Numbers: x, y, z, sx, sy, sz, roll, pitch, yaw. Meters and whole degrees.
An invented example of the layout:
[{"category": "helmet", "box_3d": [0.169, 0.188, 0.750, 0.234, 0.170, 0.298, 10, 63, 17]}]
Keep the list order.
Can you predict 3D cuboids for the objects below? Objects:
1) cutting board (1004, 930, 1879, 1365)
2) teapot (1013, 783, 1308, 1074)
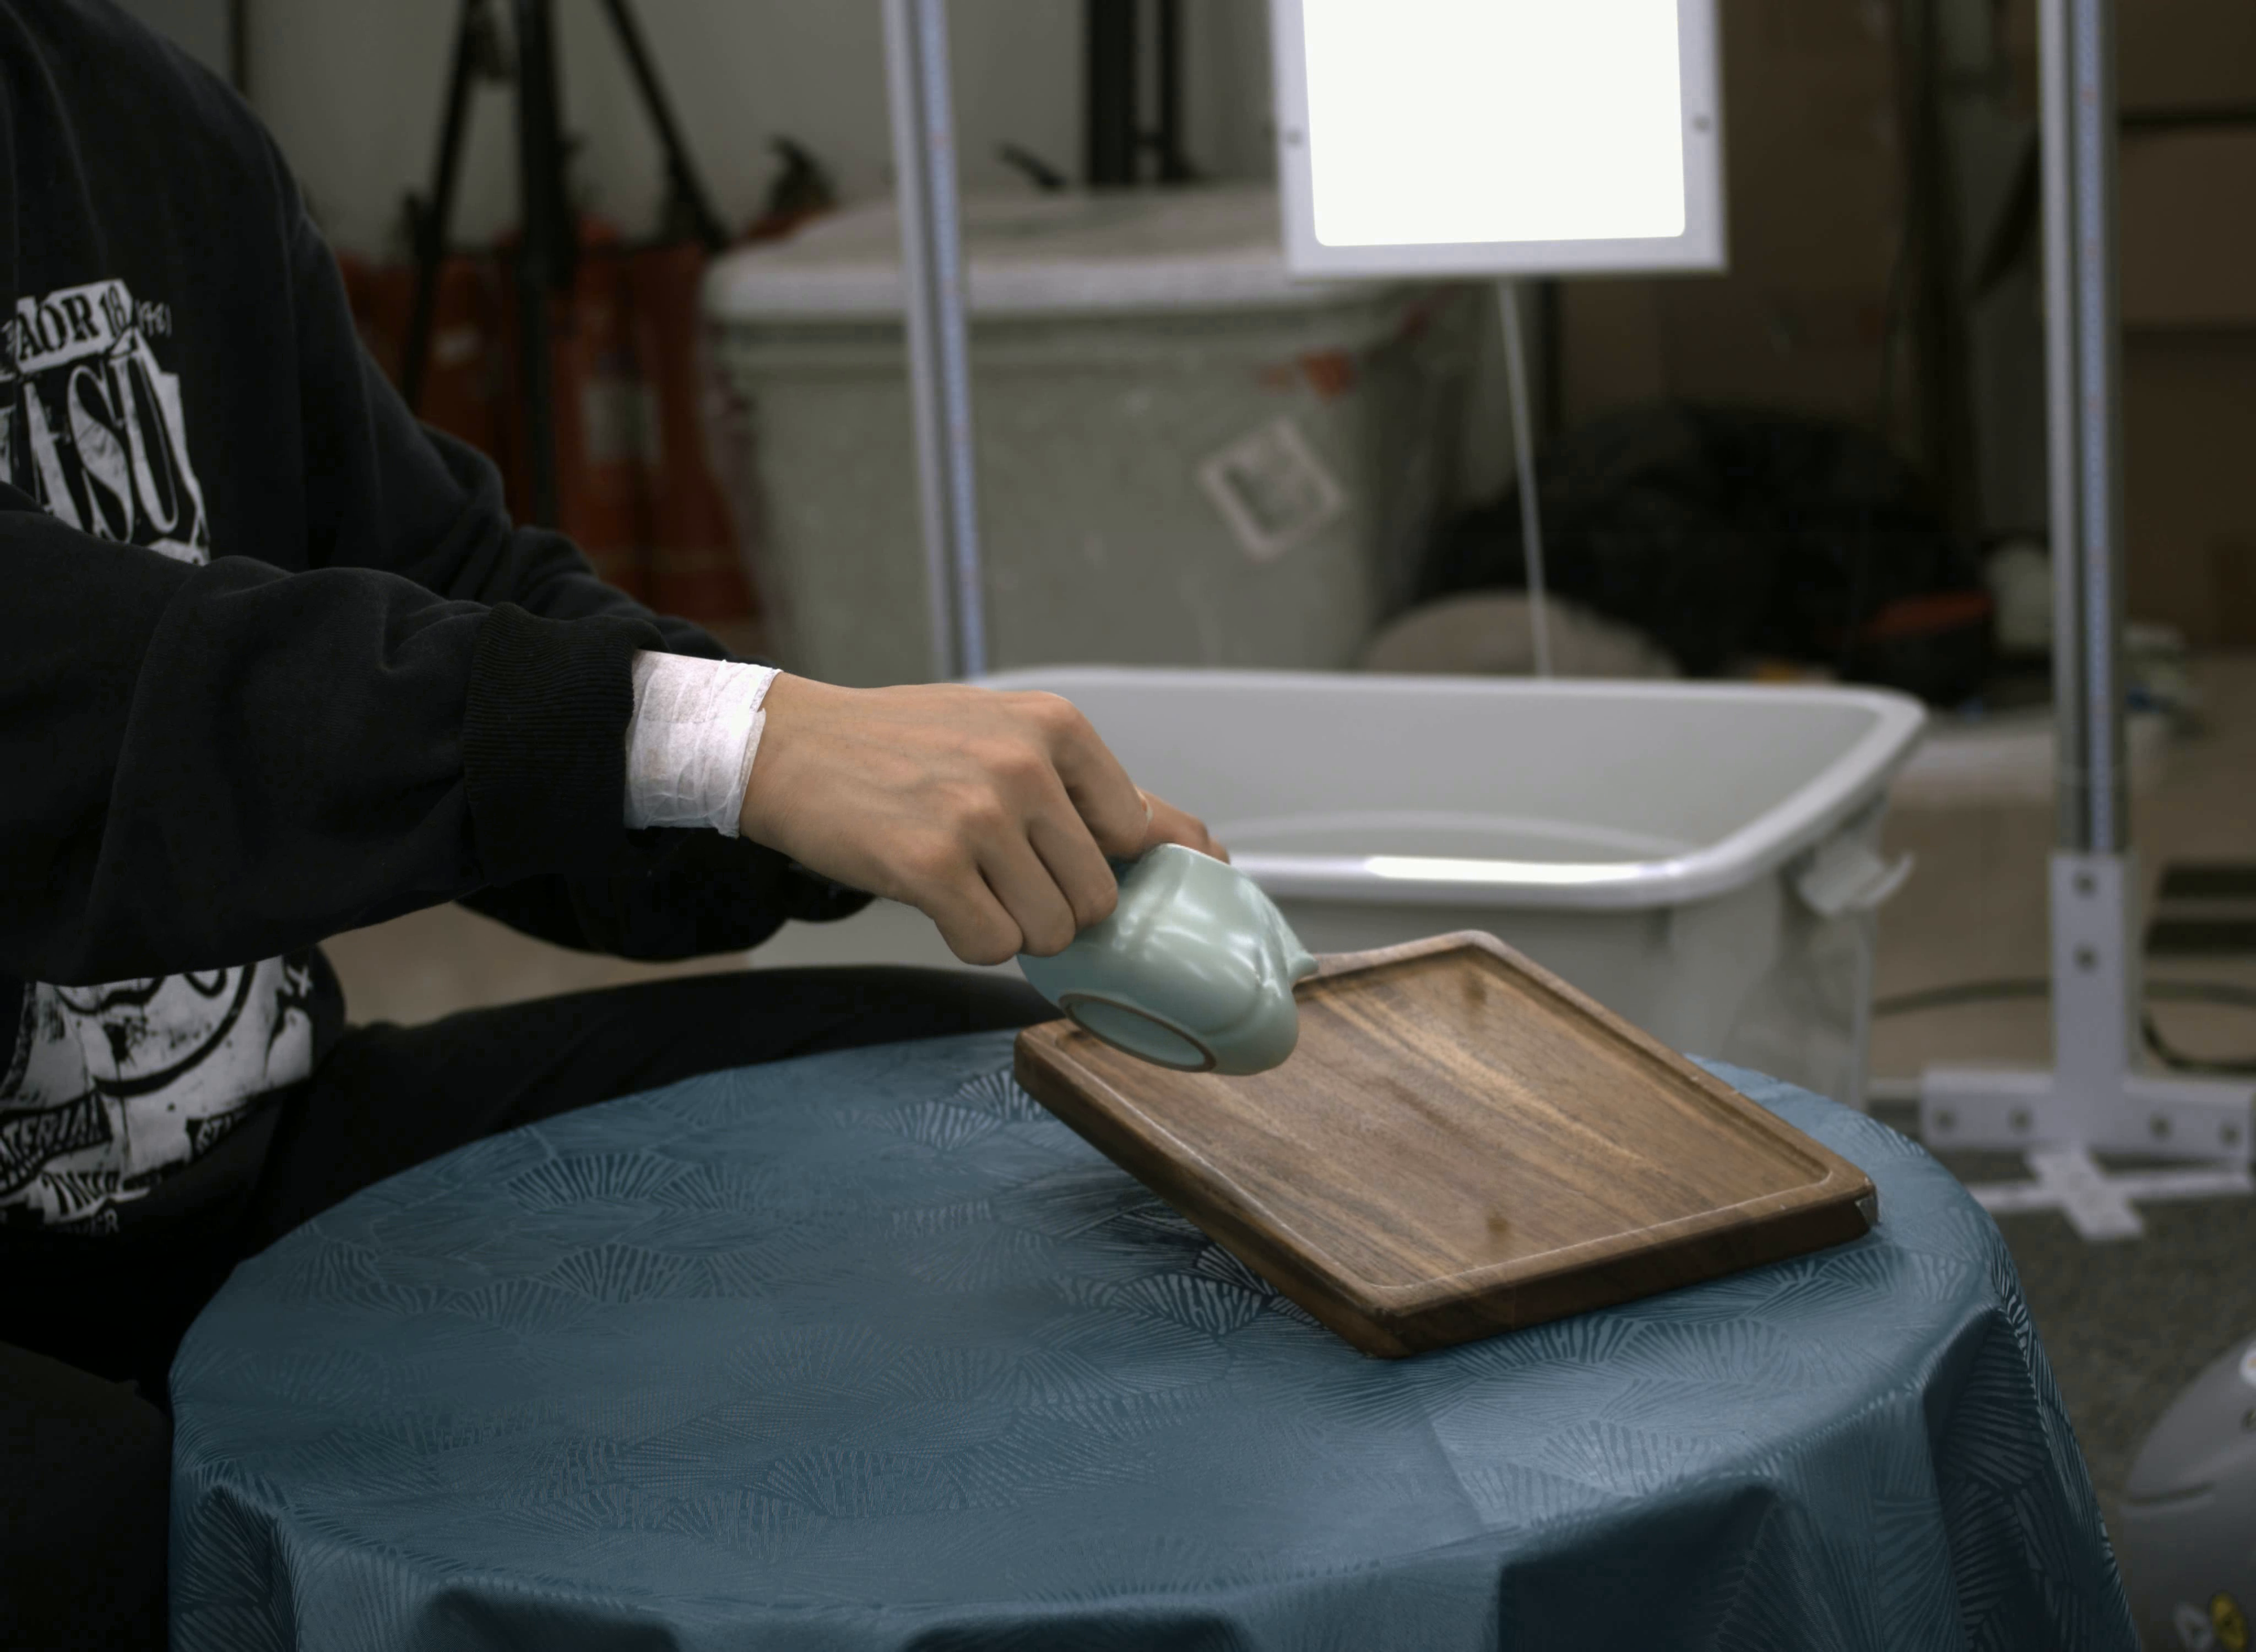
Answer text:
[{"category": "cutting board", "box_3d": [0.077, 0.086, 1.882, 0.197, 0.023, 0.358, -13, 24, -26]}, {"category": "teapot", "box_3d": [0.011, 0.038, 1.764, 0.098, 0.061, 0.134, 9, -22, 44]}]
